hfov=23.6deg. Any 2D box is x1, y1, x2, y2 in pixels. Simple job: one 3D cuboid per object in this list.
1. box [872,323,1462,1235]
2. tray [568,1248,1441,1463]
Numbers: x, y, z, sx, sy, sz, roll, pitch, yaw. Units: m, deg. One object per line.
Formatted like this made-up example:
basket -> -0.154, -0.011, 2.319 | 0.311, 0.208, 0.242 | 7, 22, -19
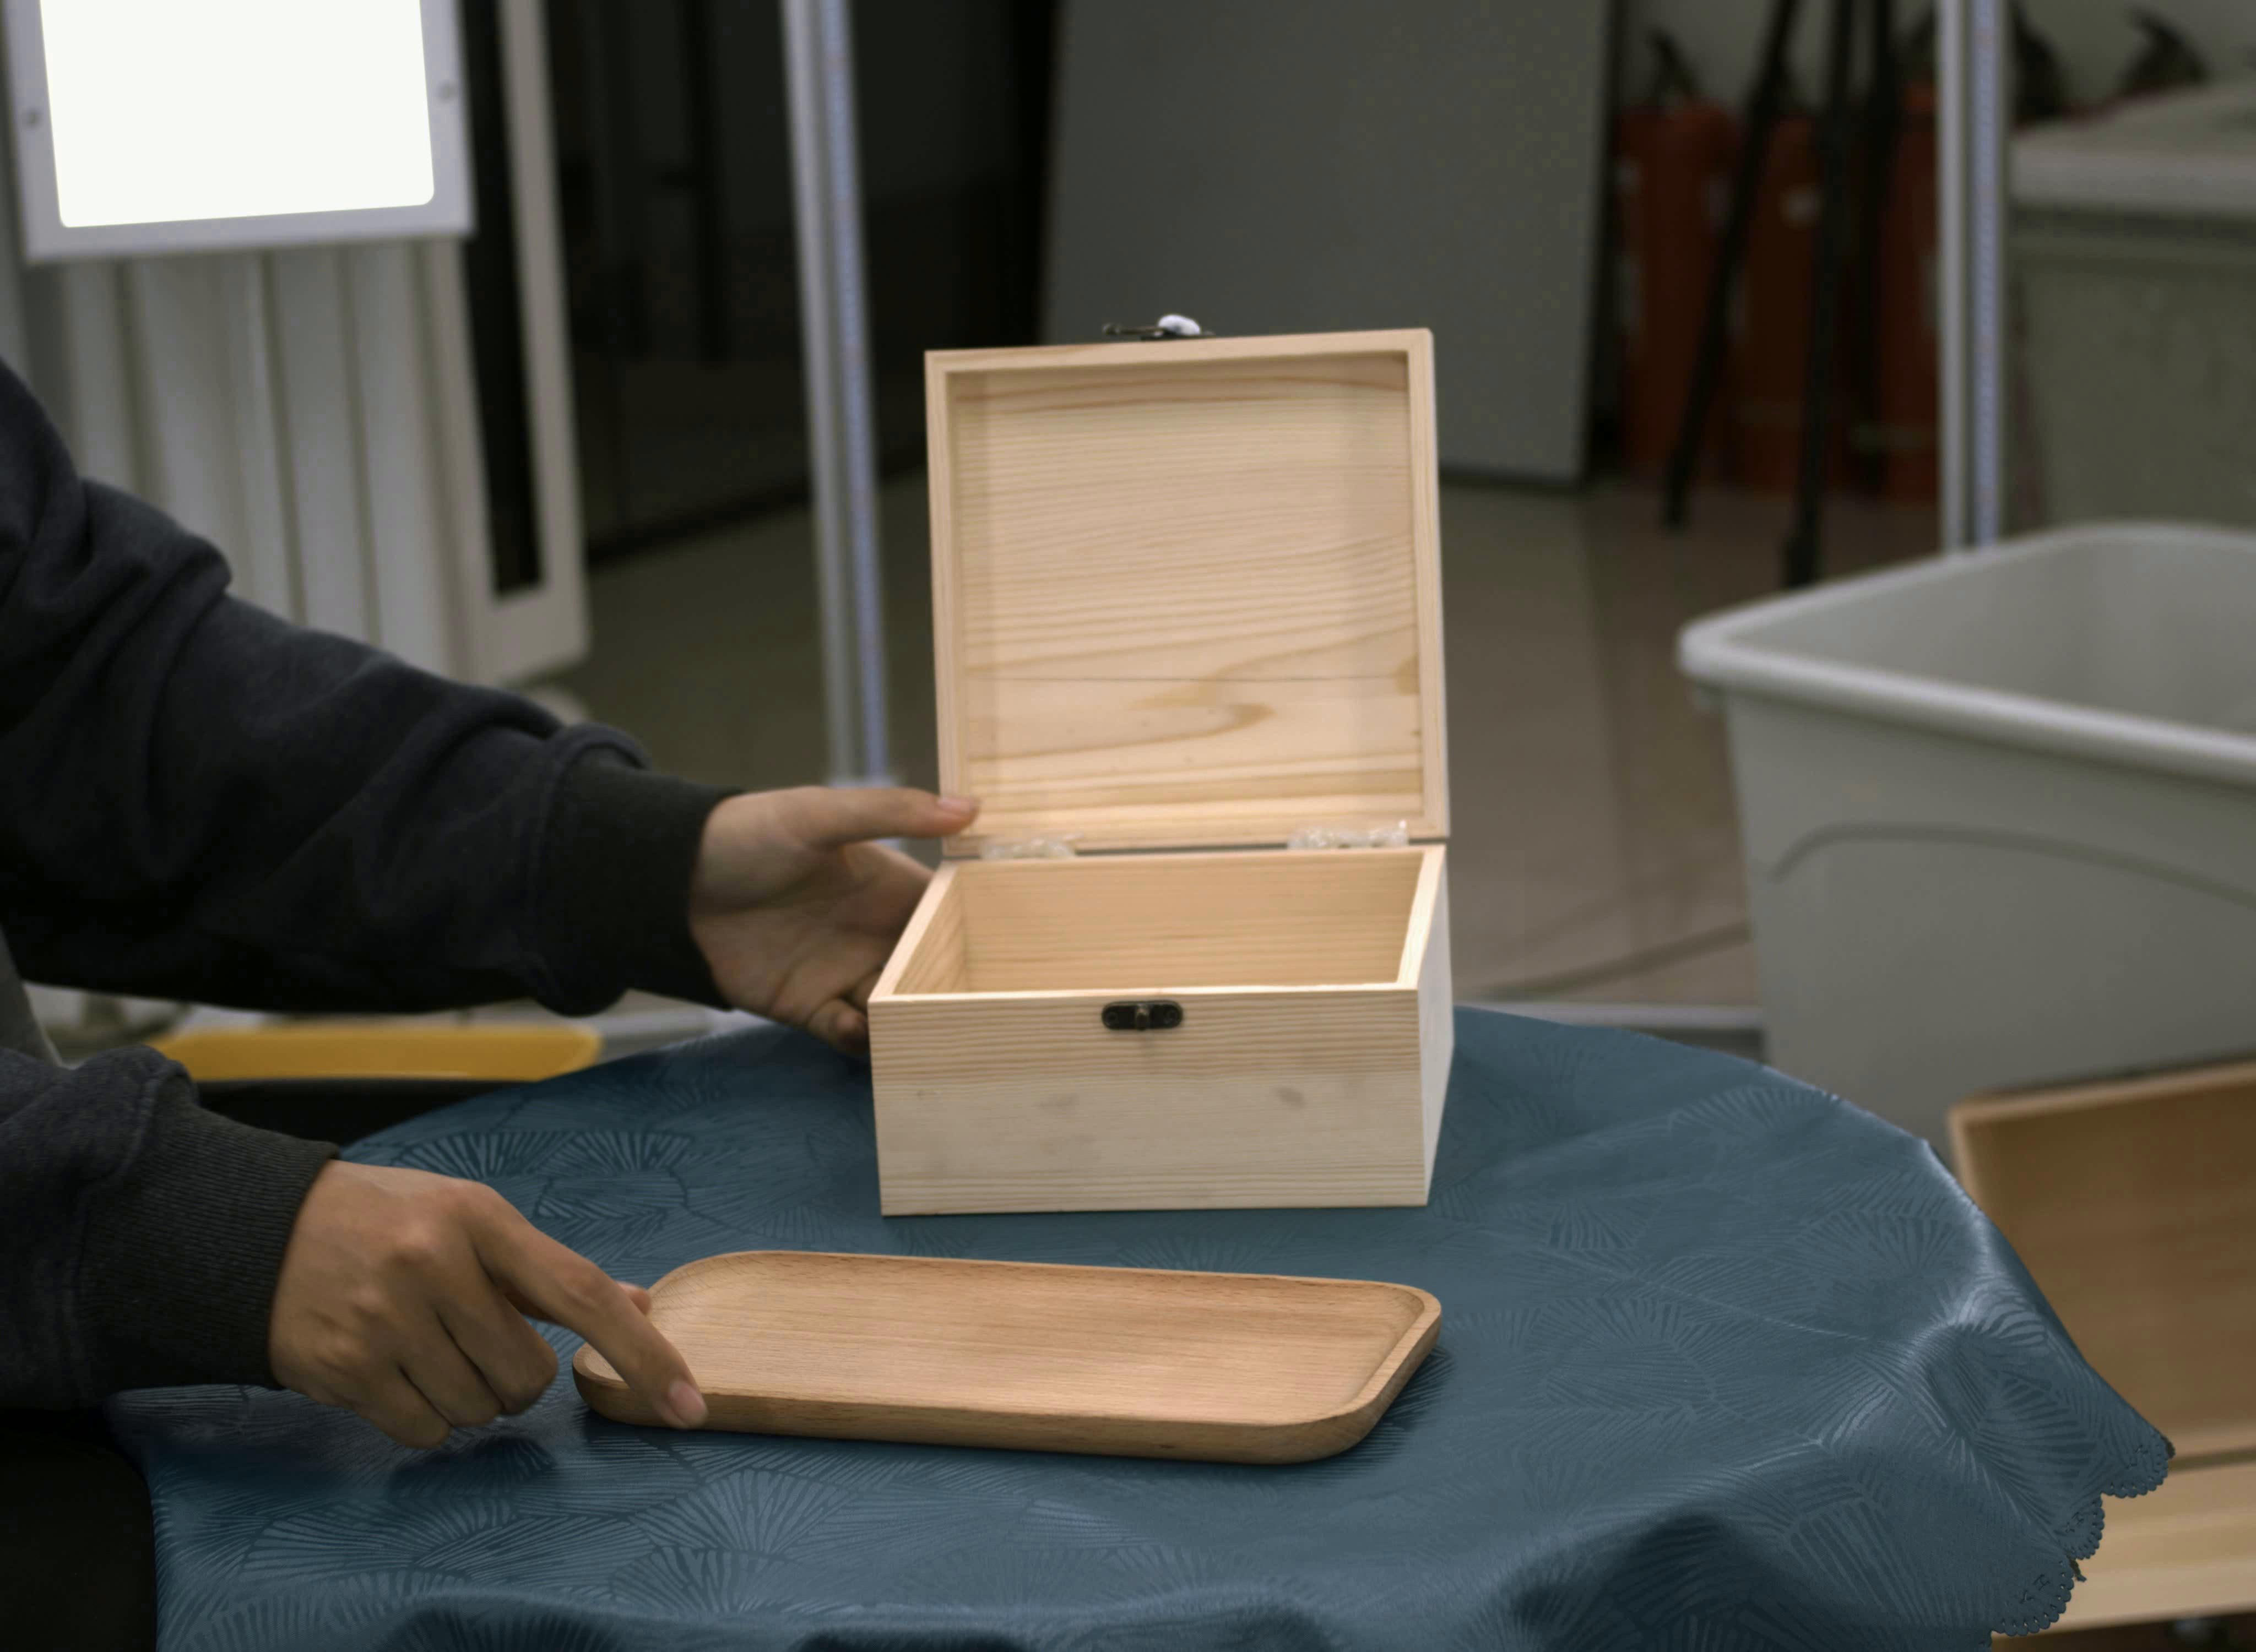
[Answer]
box -> 0.012, -0.023, 1.838 | 0.180, 0.256, 0.264 | -5, 12, 7
tray -> -0.036, 0.156, 1.598 | 0.250, 0.023, 0.129 | 1, 12, 20
